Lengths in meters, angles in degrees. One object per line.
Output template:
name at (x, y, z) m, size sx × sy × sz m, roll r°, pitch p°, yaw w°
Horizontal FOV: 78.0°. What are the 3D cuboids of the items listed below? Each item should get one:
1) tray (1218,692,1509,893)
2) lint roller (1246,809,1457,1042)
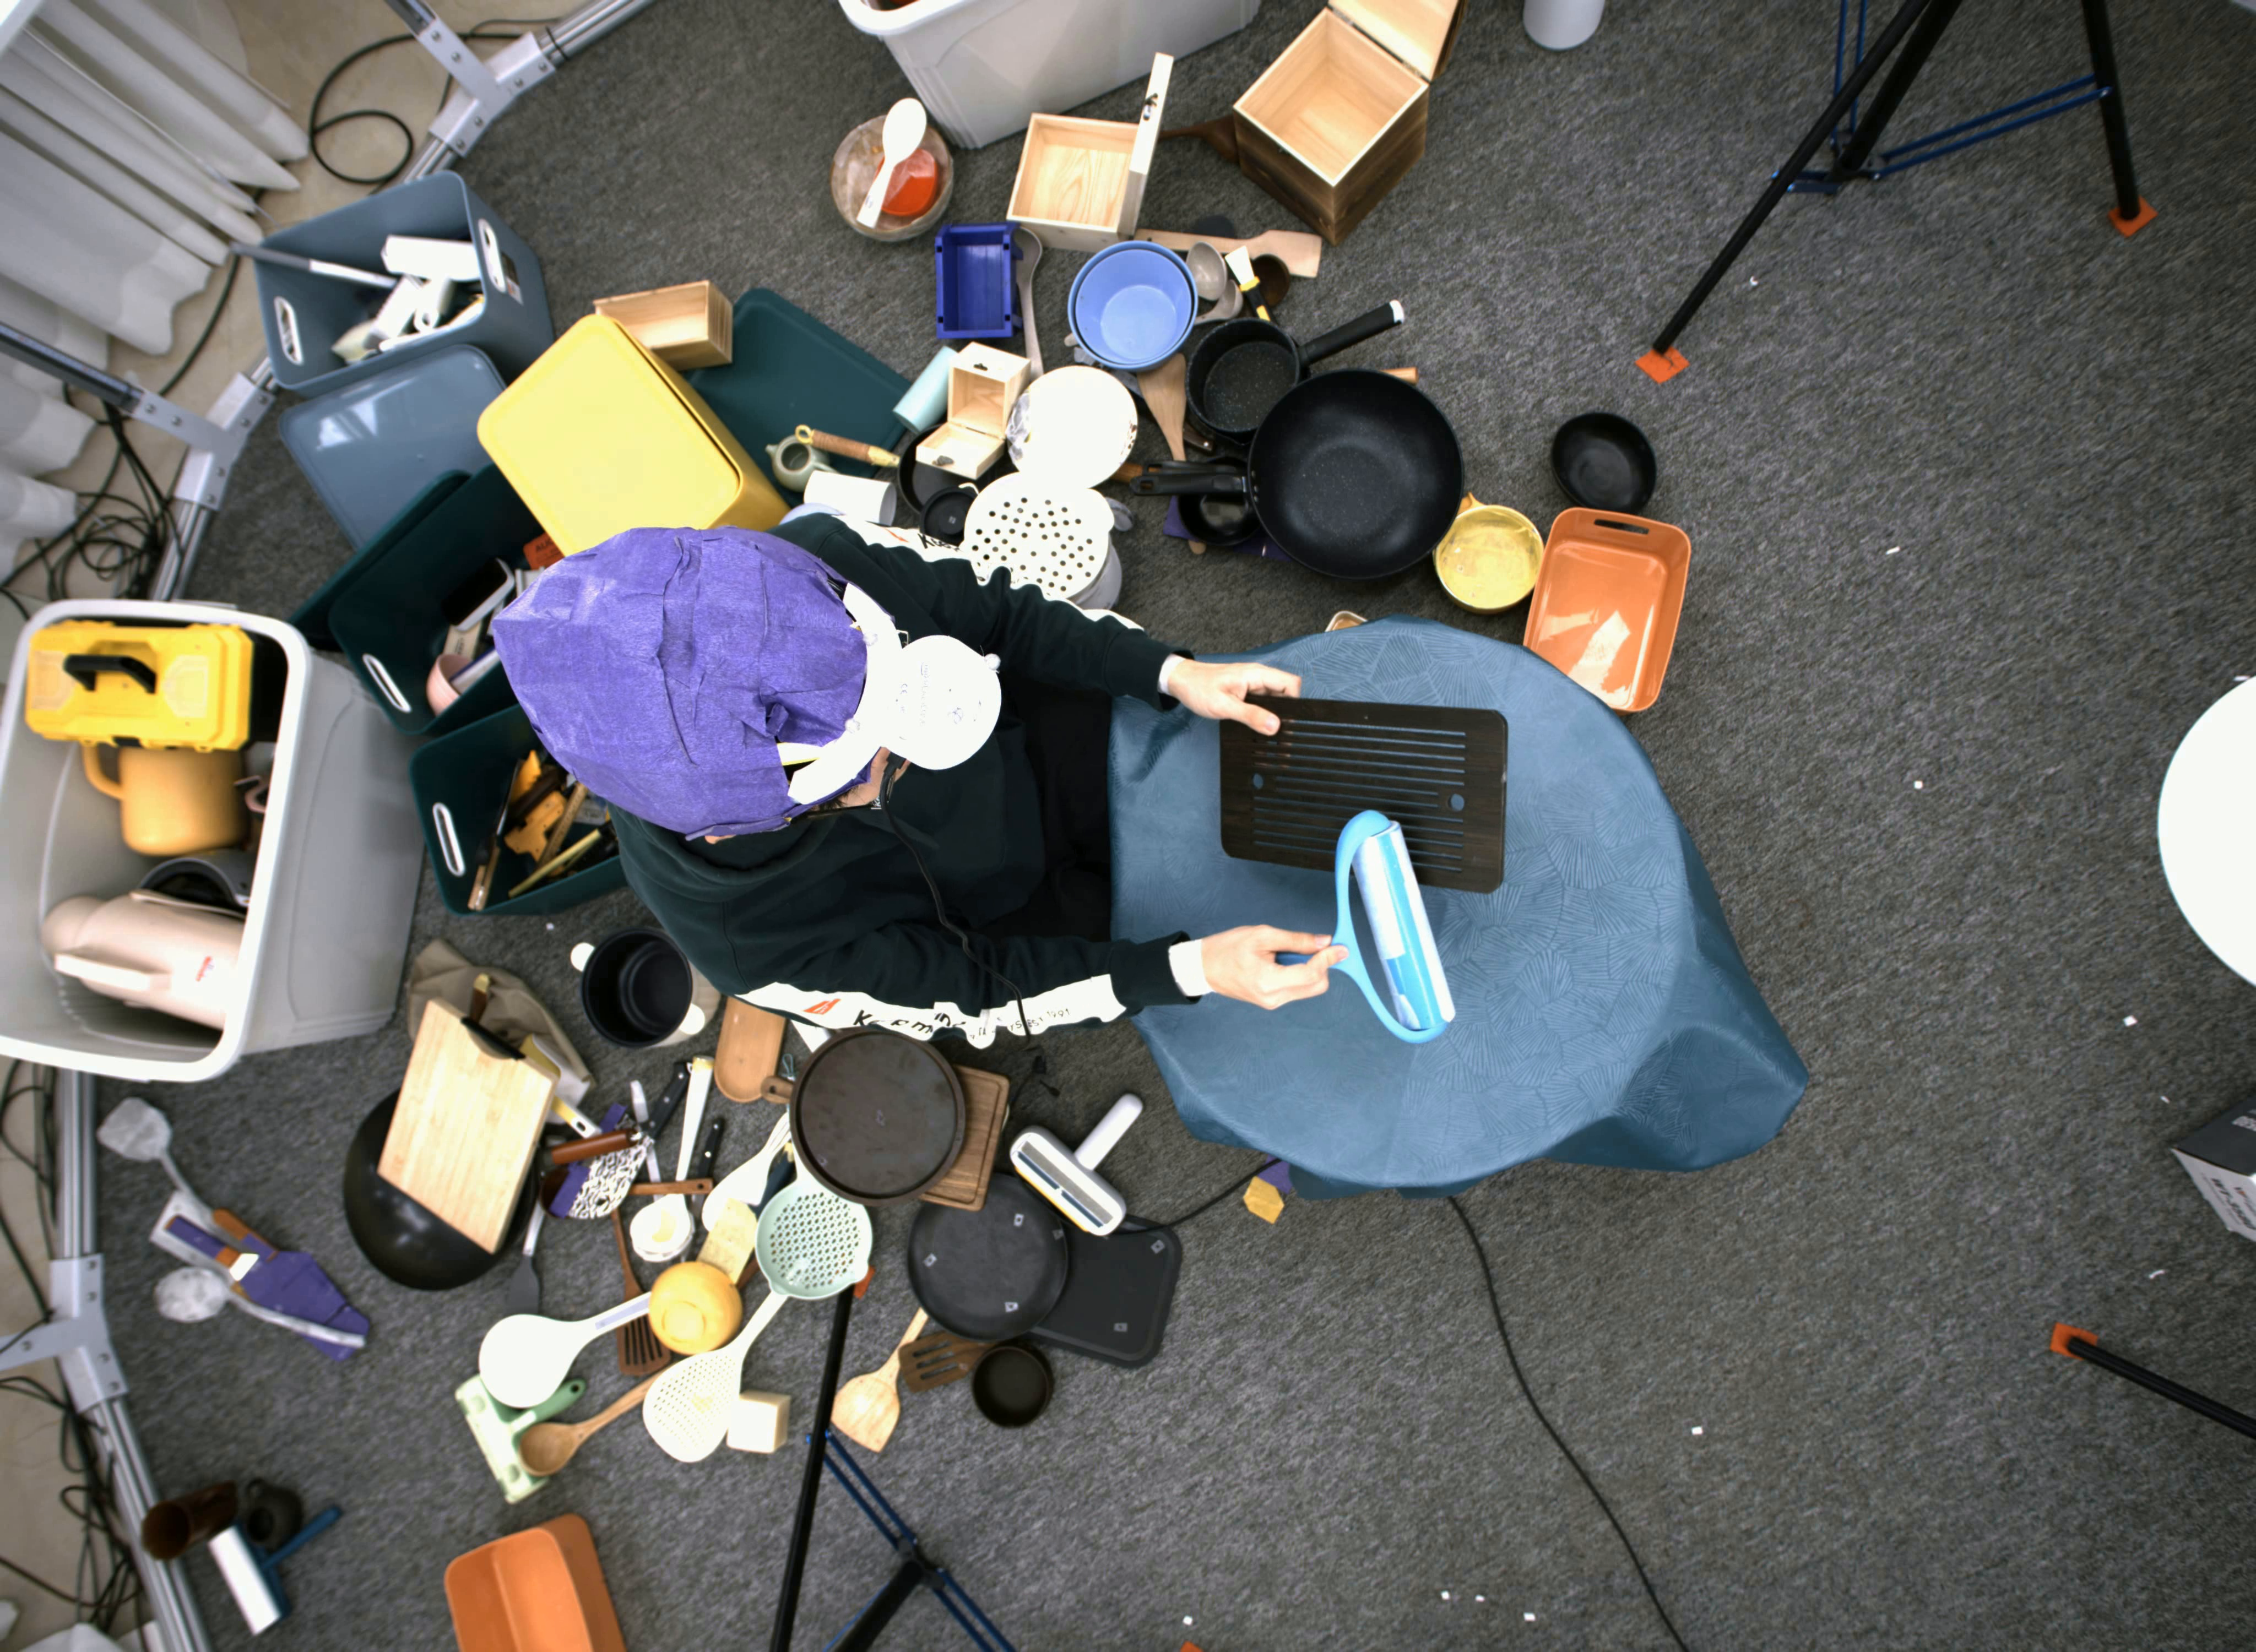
tray at (0.218, -0.039, 1.322) m, size 0.307 × 0.018 × 0.172 m, roll 8°, pitch 108°, yaw 37°
lint roller at (0.200, 0.113, 1.298) m, size 0.181 × 0.067 × 0.231 m, roll -20°, pitch 104°, yaw 5°
